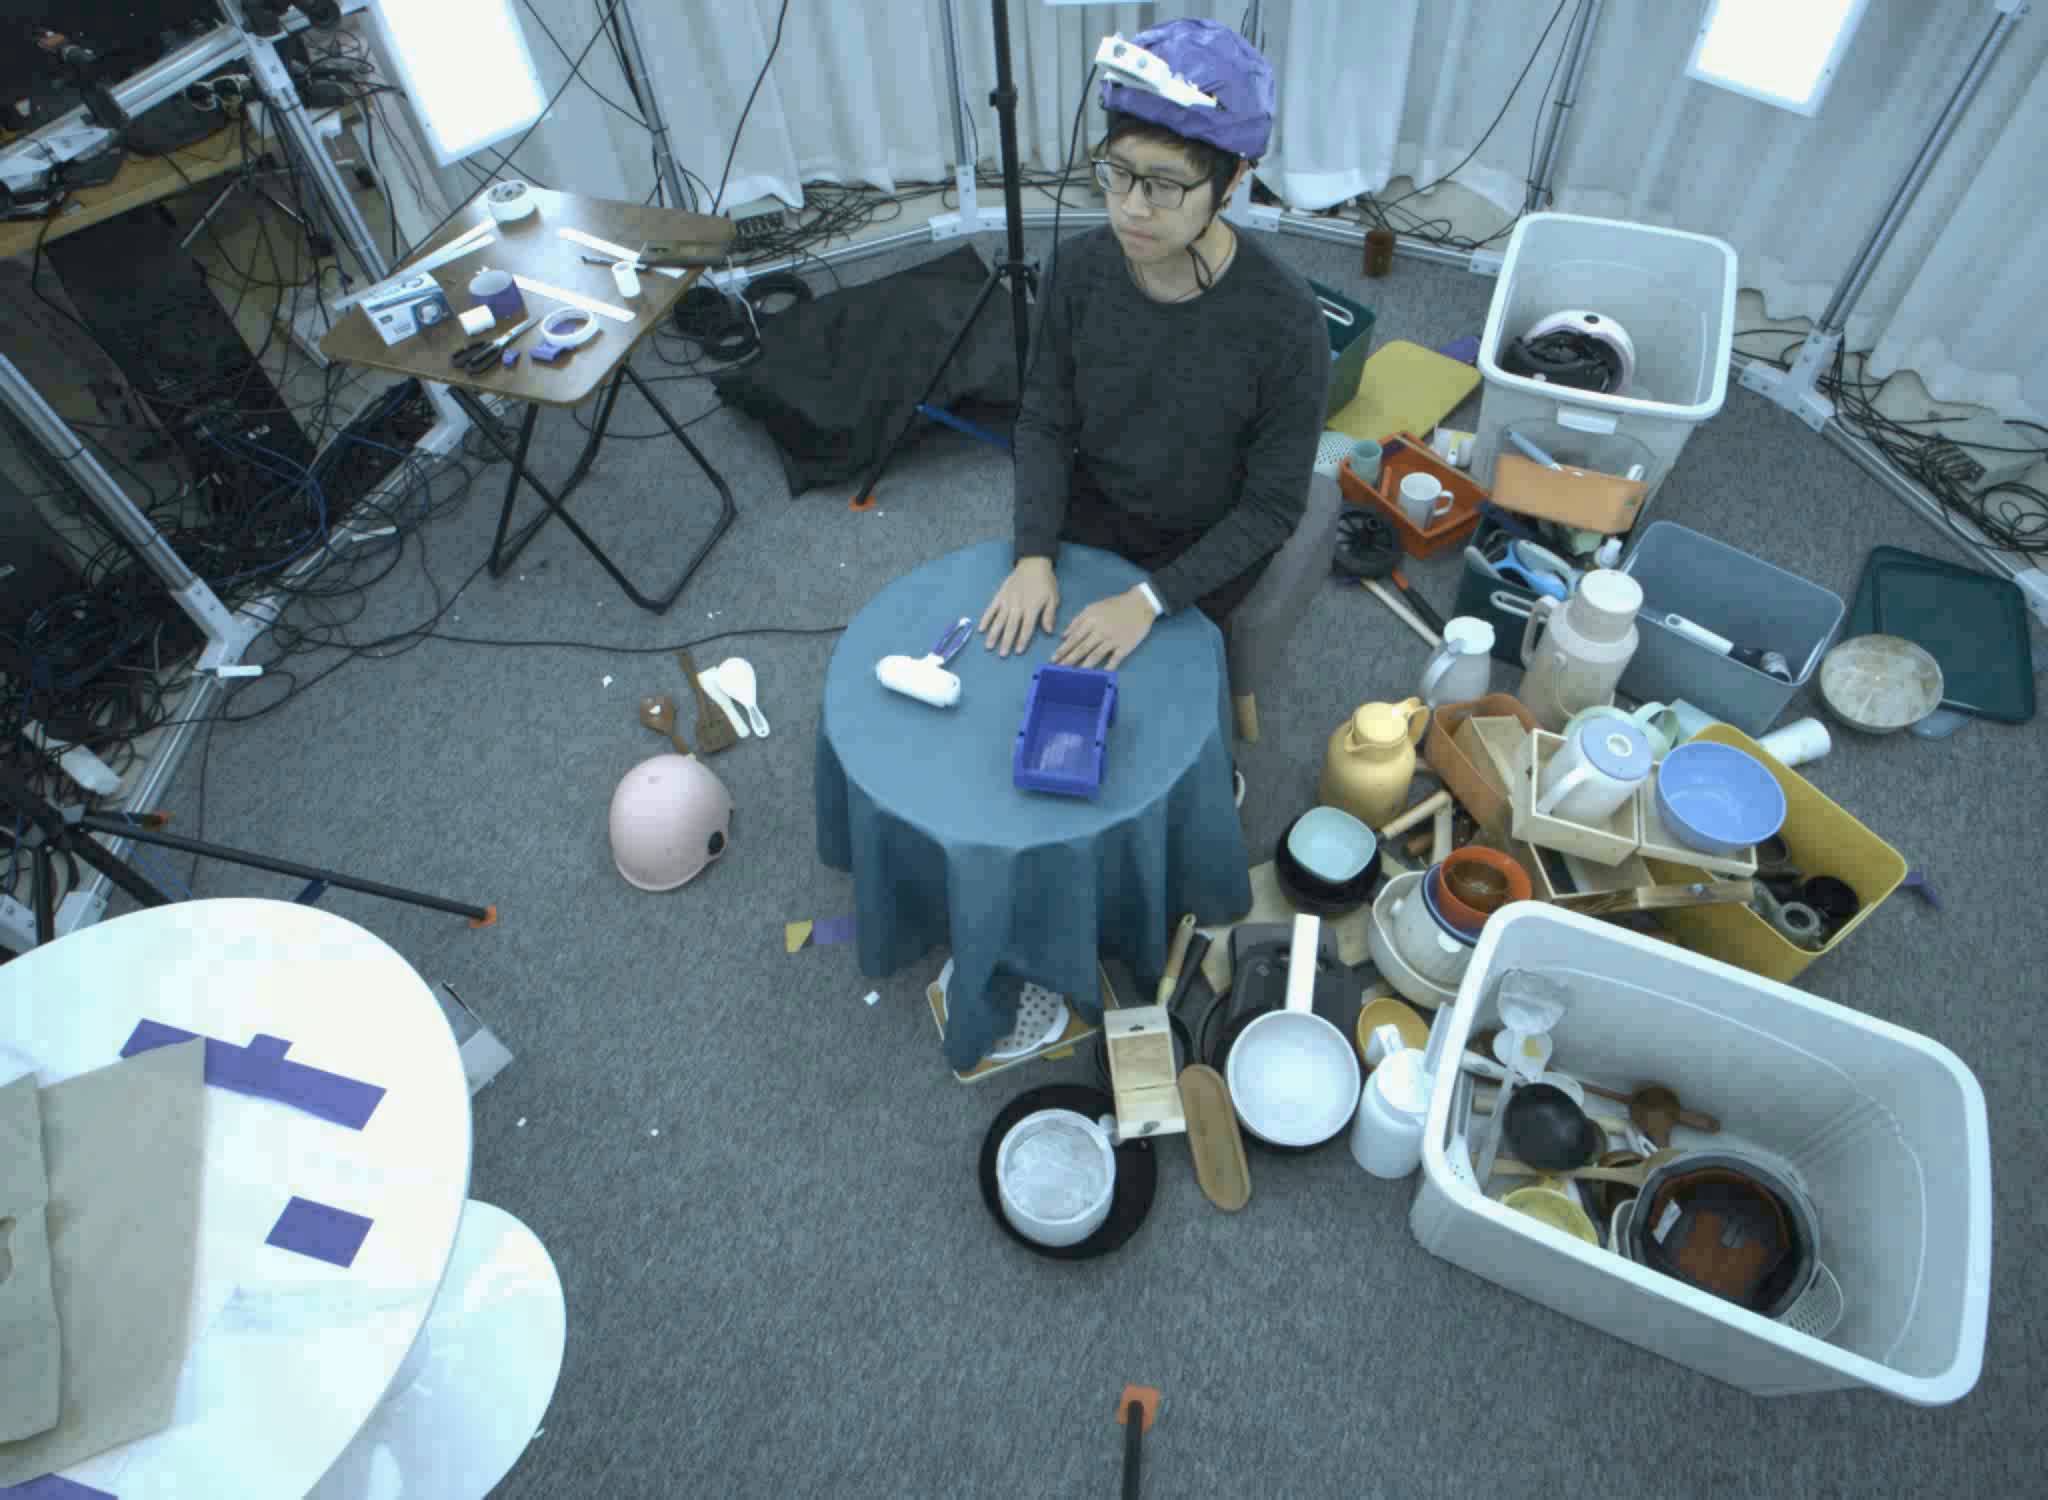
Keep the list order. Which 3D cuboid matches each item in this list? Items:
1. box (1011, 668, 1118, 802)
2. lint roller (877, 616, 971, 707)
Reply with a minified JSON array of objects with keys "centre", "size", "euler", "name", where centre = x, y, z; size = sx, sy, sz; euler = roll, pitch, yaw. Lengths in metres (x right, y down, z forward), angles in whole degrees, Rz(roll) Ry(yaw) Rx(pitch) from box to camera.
[{"centre":[0.061,-0.018,1.748],"size":[0.124,0.083,0.178],"euler":[9,53,8],"name":"box"},{"centre":[-0.130,-0.150,1.869],"size":[0.131,0.051,0.181],"euler":[22,60,18],"name":"lint roller"}]
